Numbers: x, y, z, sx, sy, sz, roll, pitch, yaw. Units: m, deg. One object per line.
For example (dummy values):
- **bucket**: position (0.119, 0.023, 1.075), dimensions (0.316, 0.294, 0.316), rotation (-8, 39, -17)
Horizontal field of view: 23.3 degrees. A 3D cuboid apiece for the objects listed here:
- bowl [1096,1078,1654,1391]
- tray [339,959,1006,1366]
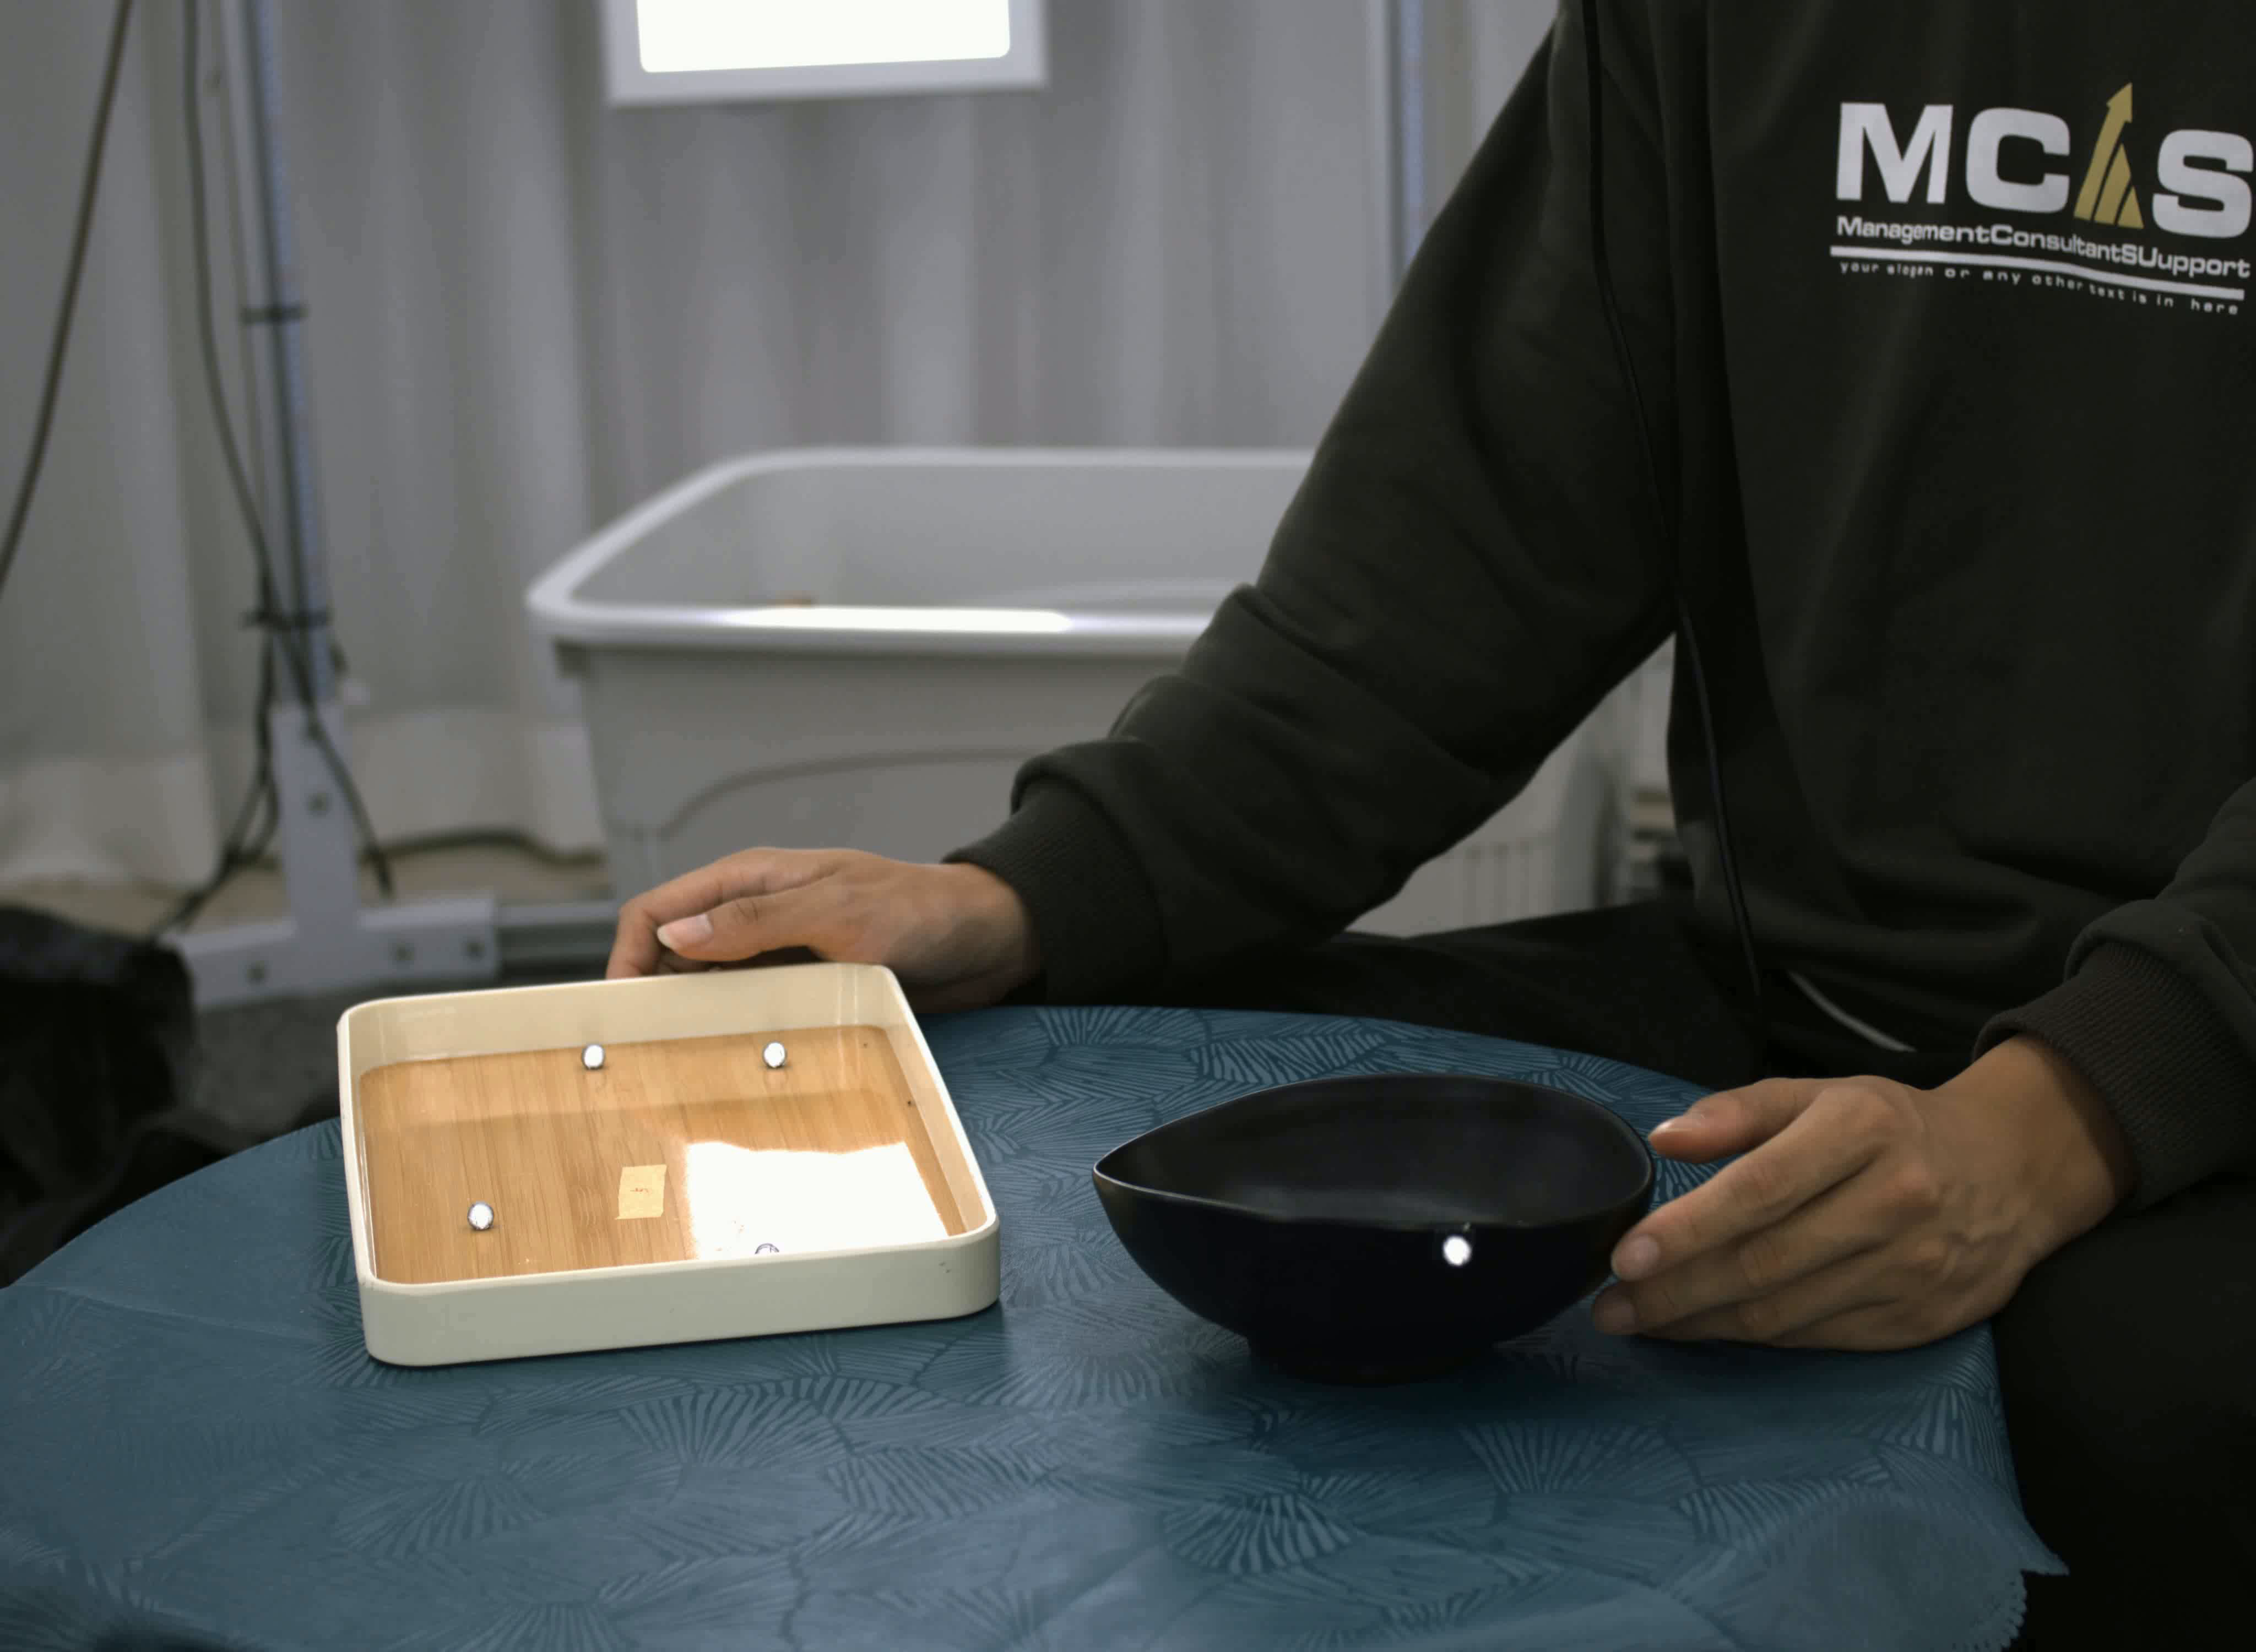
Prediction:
- **bowl**: position (0.069, 0.121, 1.565), dimensions (0.171, 0.066, 0.137), rotation (4, 15, 31)
- **tray**: position (-0.151, 0.103, 1.737), dimensions (0.191, 0.027, 0.302), rotation (-5, 15, -8)
